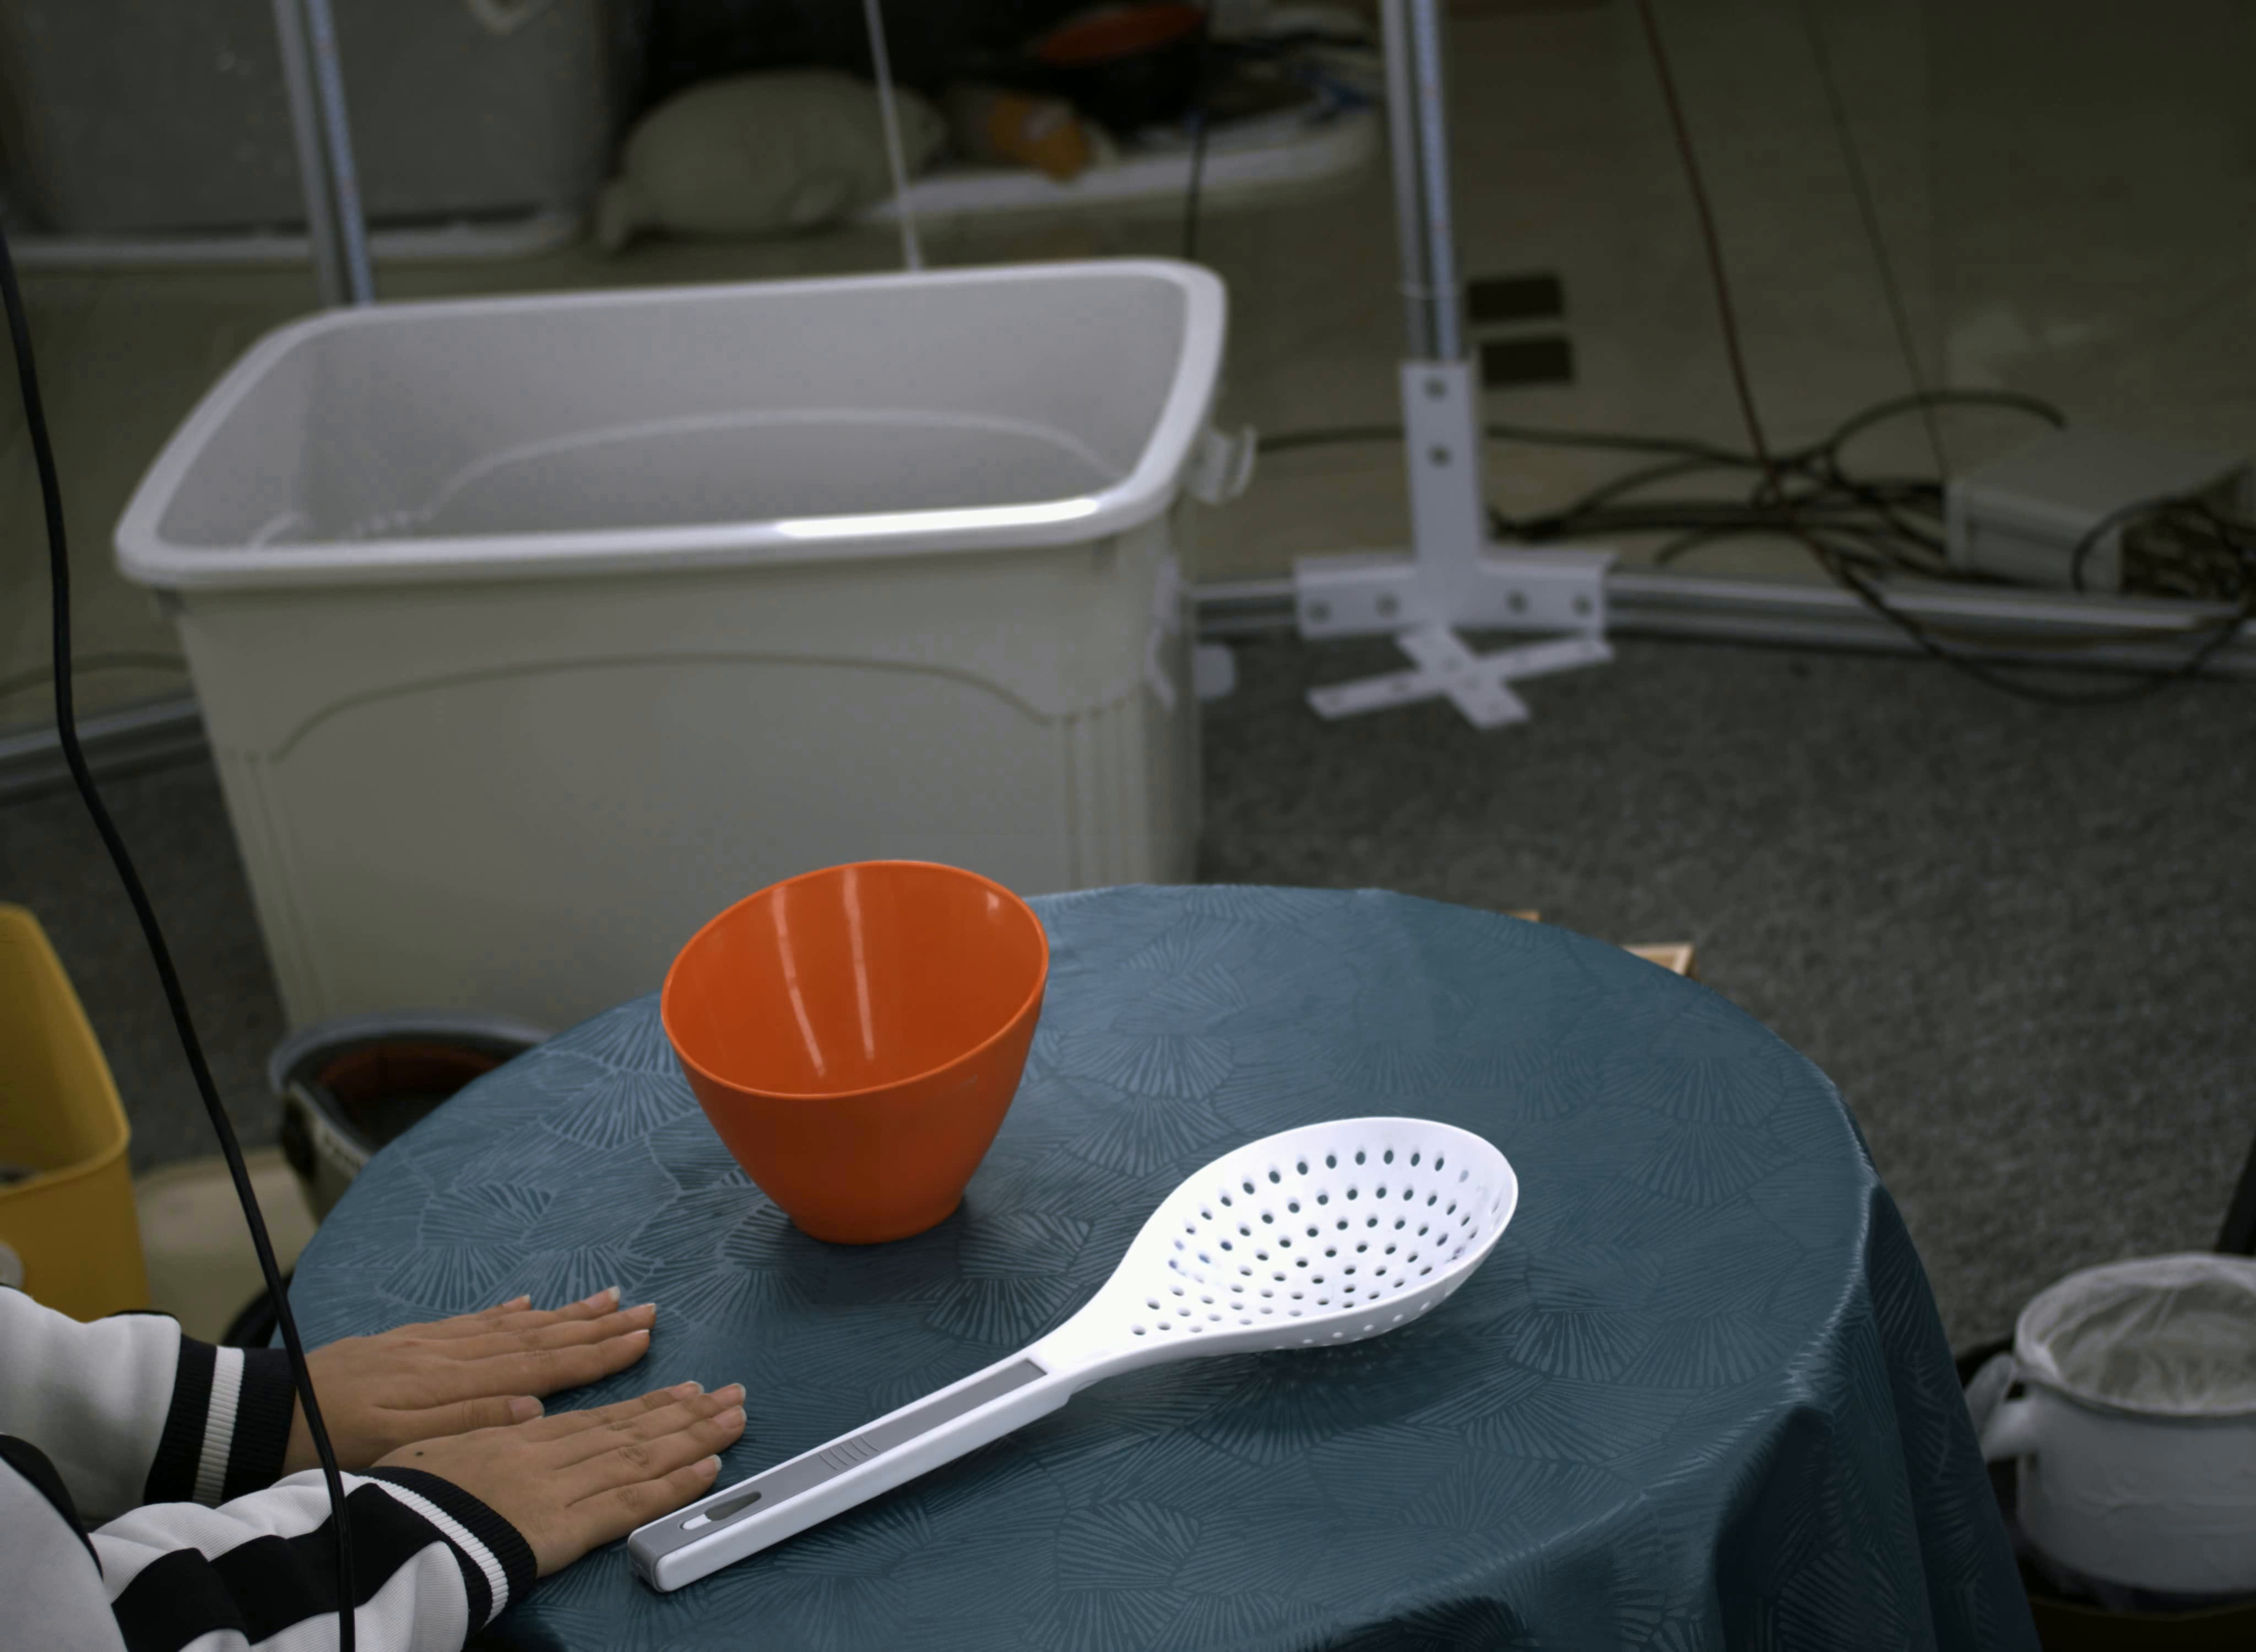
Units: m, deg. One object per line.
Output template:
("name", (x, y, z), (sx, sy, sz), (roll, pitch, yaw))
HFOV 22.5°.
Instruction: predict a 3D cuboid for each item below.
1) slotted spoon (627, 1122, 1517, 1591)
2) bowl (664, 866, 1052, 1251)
("slotted spoon", (-0.018, 0.187, 1.995), (0.348, 0.046, 0.134), (-19, 26, -24))
("bowl", (-0.099, 0.095, 2.148), (0.148, 0.106, 0.146), (-4, 27, 2))
